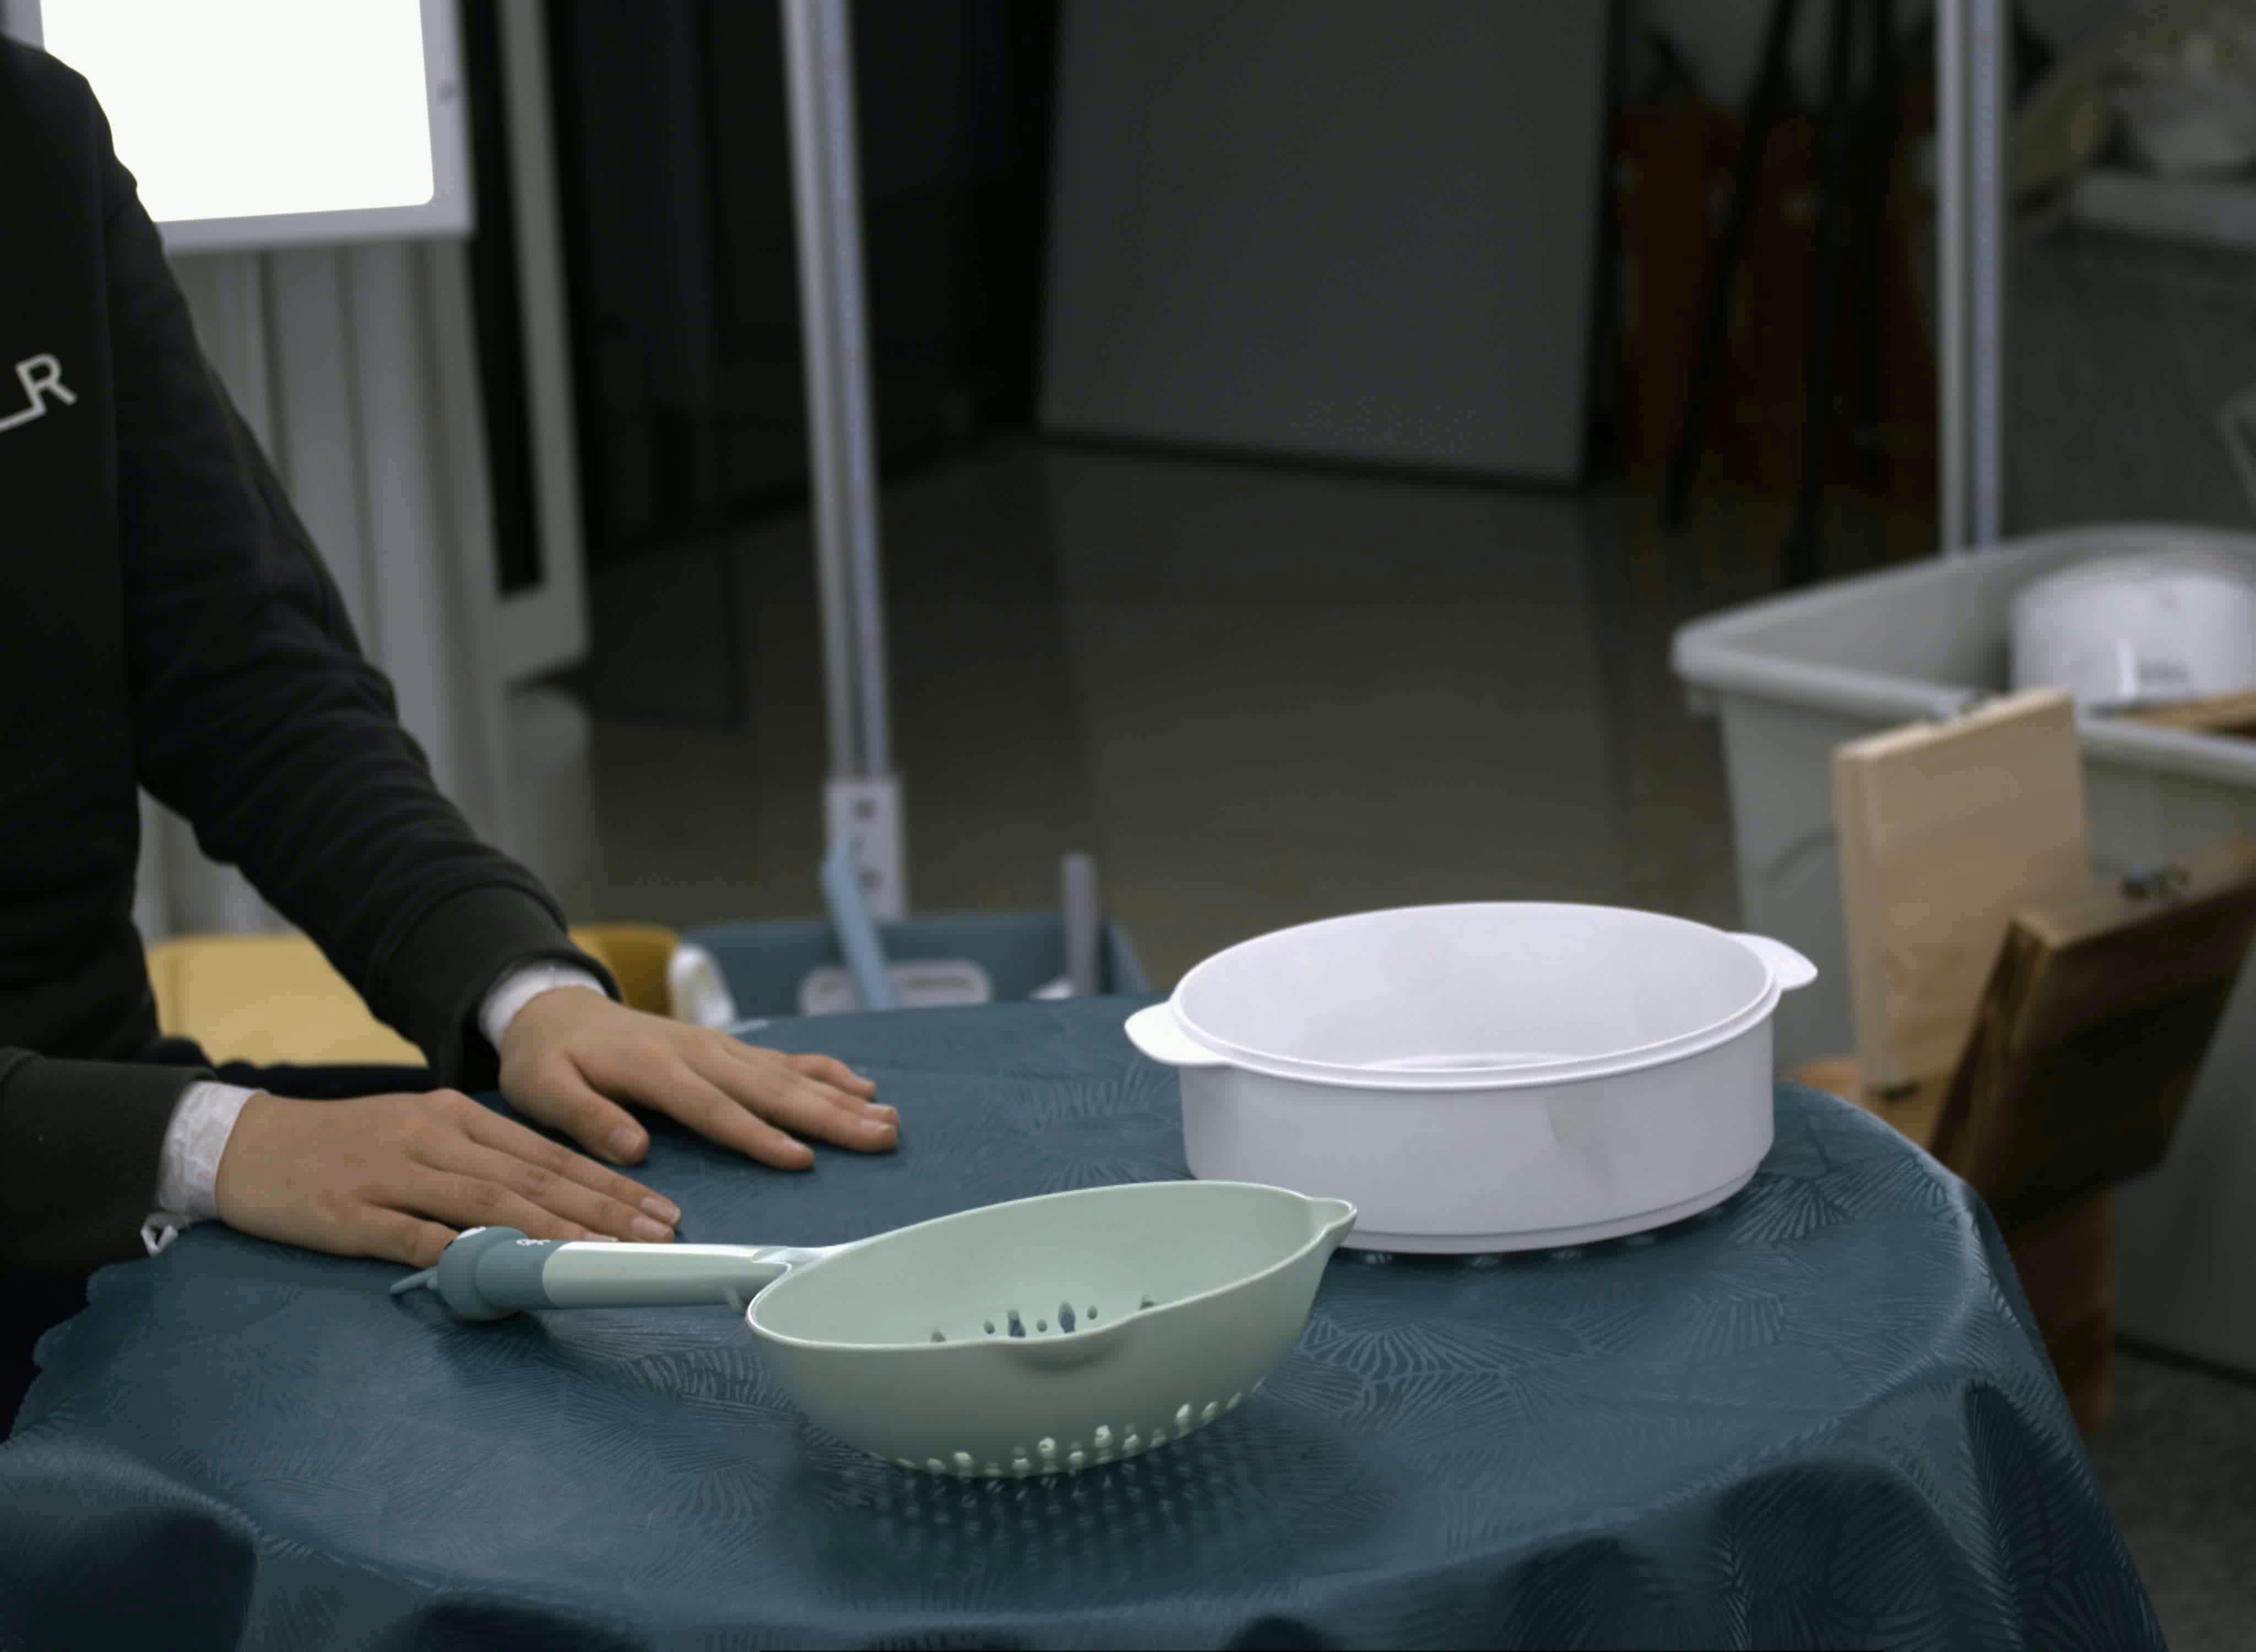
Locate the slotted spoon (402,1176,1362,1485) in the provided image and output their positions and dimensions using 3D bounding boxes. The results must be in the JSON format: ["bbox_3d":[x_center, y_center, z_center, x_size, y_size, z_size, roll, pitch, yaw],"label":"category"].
[{"bbox_3d":[-0.095,0.138,1.594,0.362,0.076,0.166,8,17,41],"label":"slotted spoon"}]

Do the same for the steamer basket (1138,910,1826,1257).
[{"bbox_3d":[0.118,0.084,1.754,0.226,0.070,0.203,-8,13,-13],"label":"steamer basket"}]
